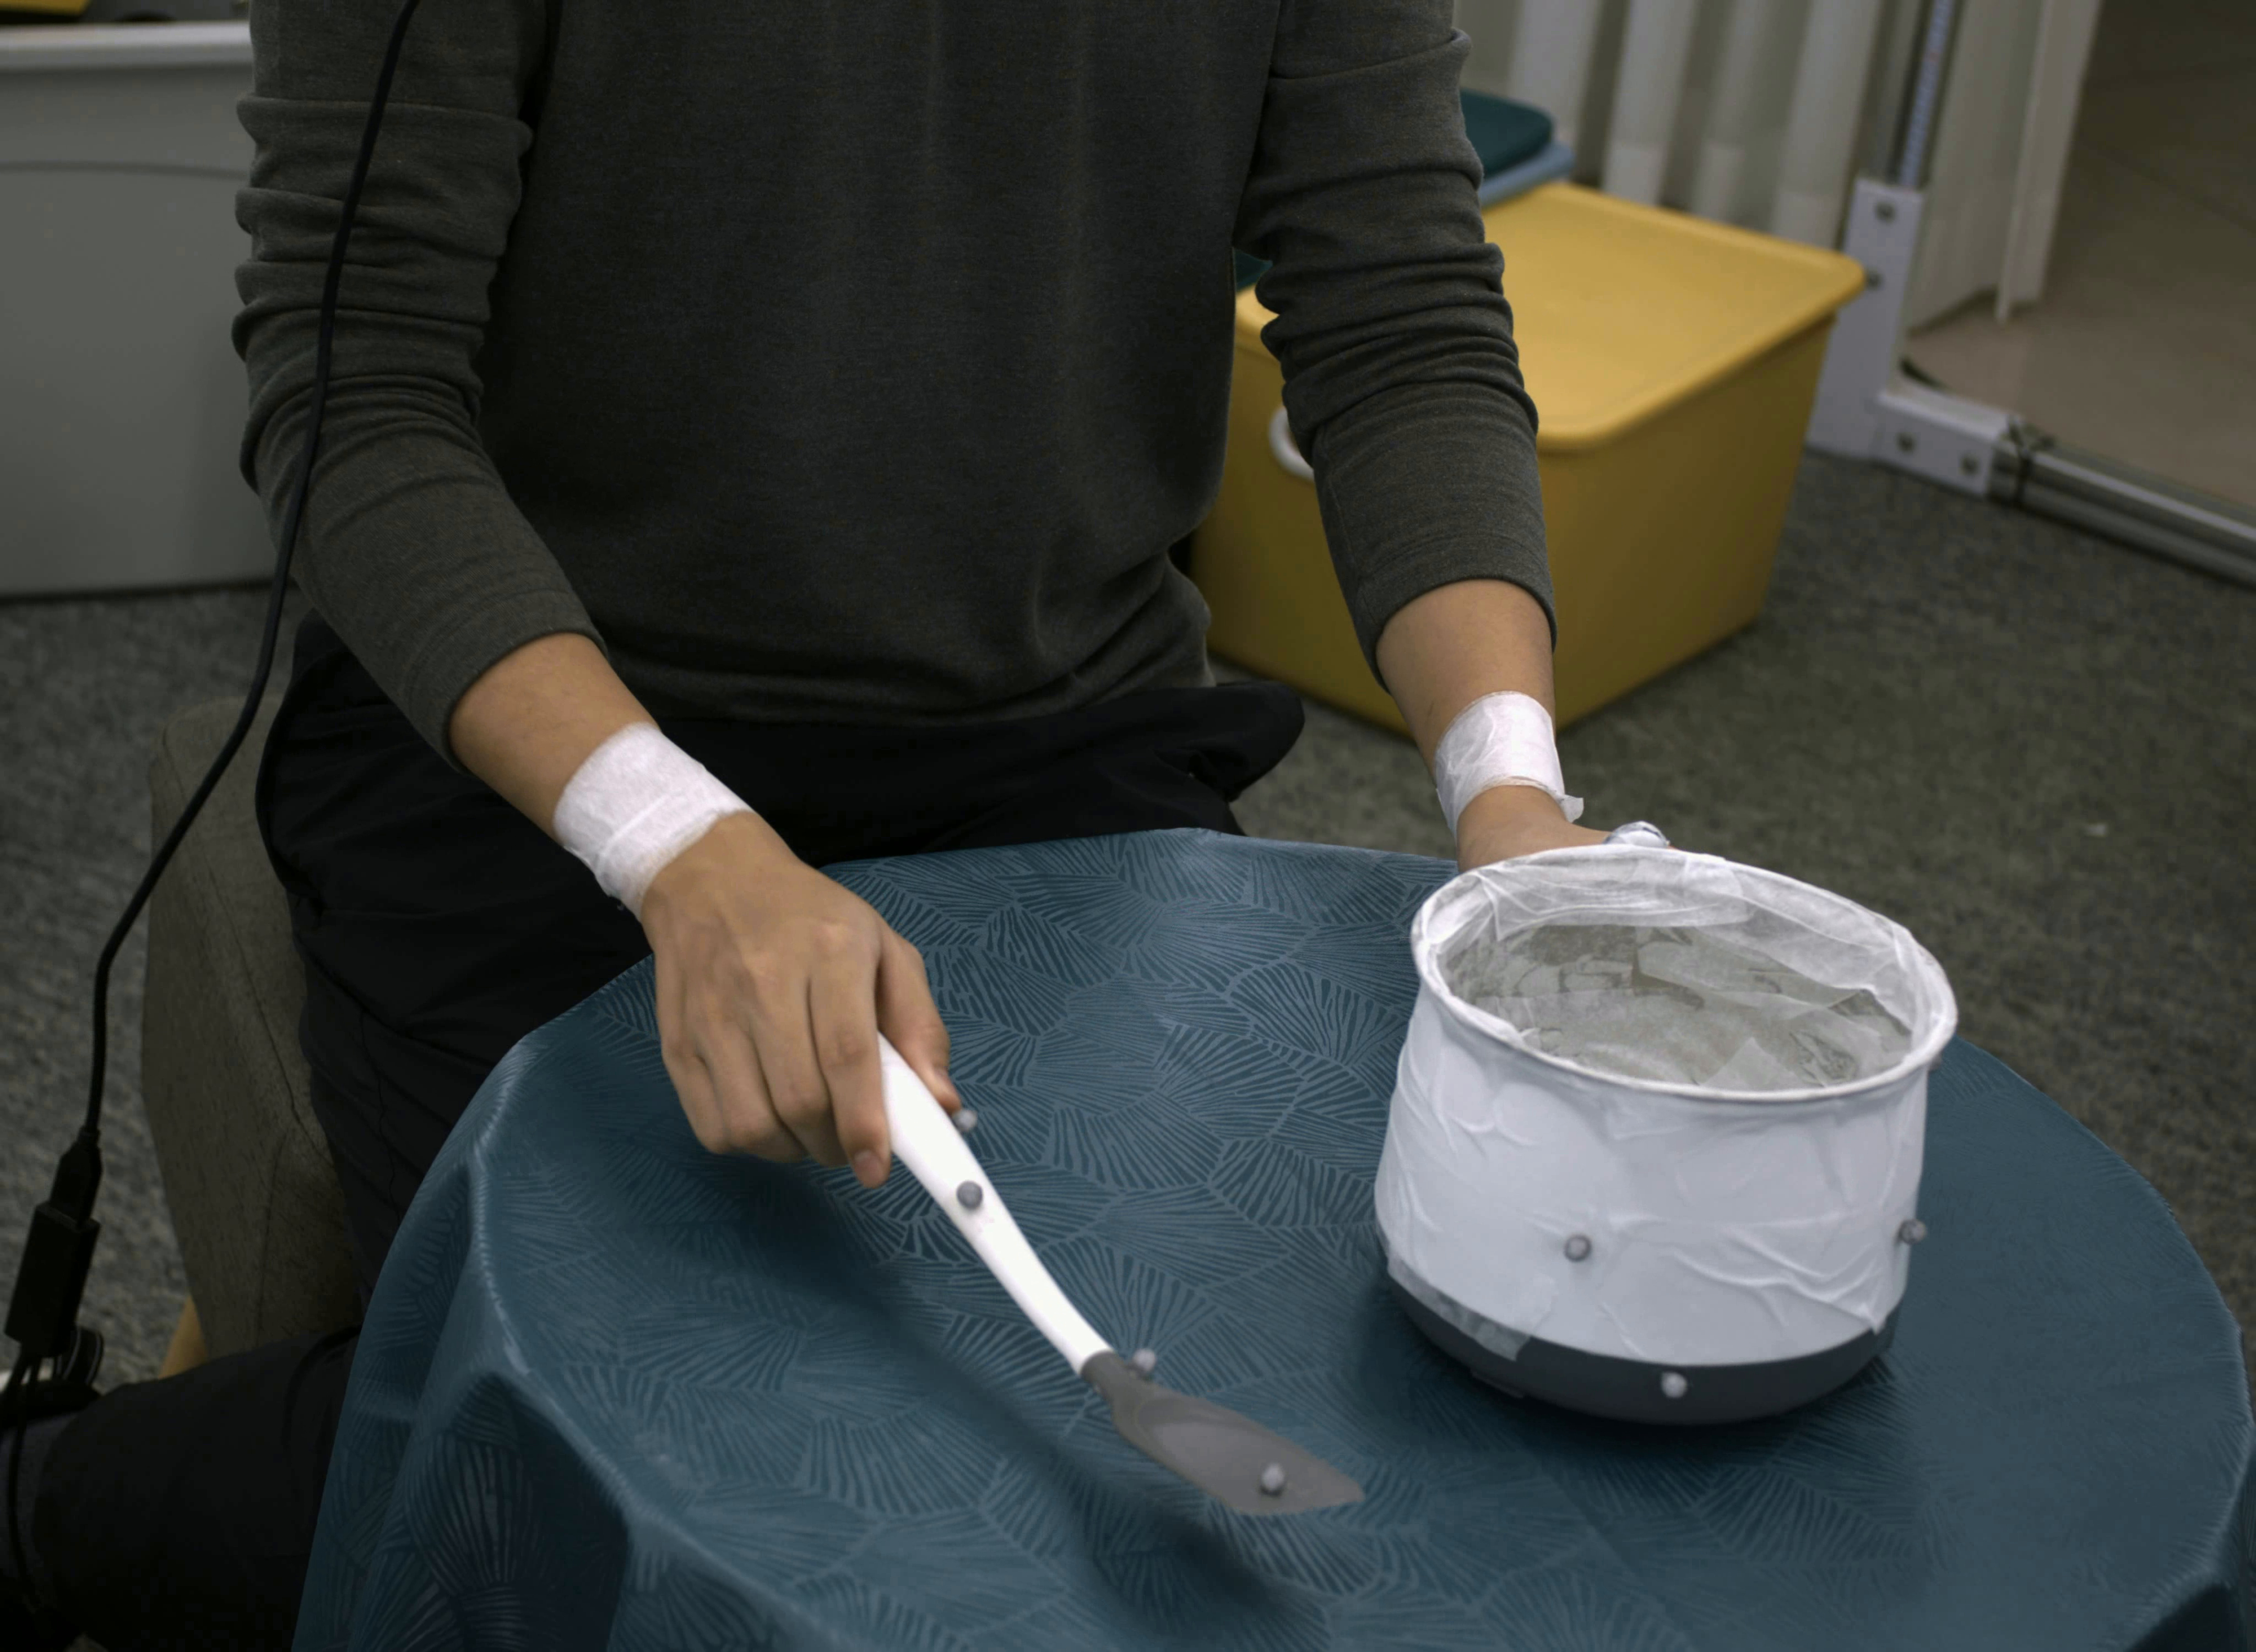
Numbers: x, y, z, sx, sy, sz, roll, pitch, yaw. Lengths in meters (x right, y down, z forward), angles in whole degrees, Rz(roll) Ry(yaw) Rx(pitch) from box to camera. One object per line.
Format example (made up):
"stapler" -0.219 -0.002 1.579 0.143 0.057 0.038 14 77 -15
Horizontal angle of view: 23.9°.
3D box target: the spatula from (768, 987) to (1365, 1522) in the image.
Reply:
"spatula" -0.028 0.138 1.668 0.058 0.032 0.290 2 28 -40

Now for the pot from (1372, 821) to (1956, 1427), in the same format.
"pot" 0.169 0.091 1.757 0.178 0.136 0.235 4 25 -5
